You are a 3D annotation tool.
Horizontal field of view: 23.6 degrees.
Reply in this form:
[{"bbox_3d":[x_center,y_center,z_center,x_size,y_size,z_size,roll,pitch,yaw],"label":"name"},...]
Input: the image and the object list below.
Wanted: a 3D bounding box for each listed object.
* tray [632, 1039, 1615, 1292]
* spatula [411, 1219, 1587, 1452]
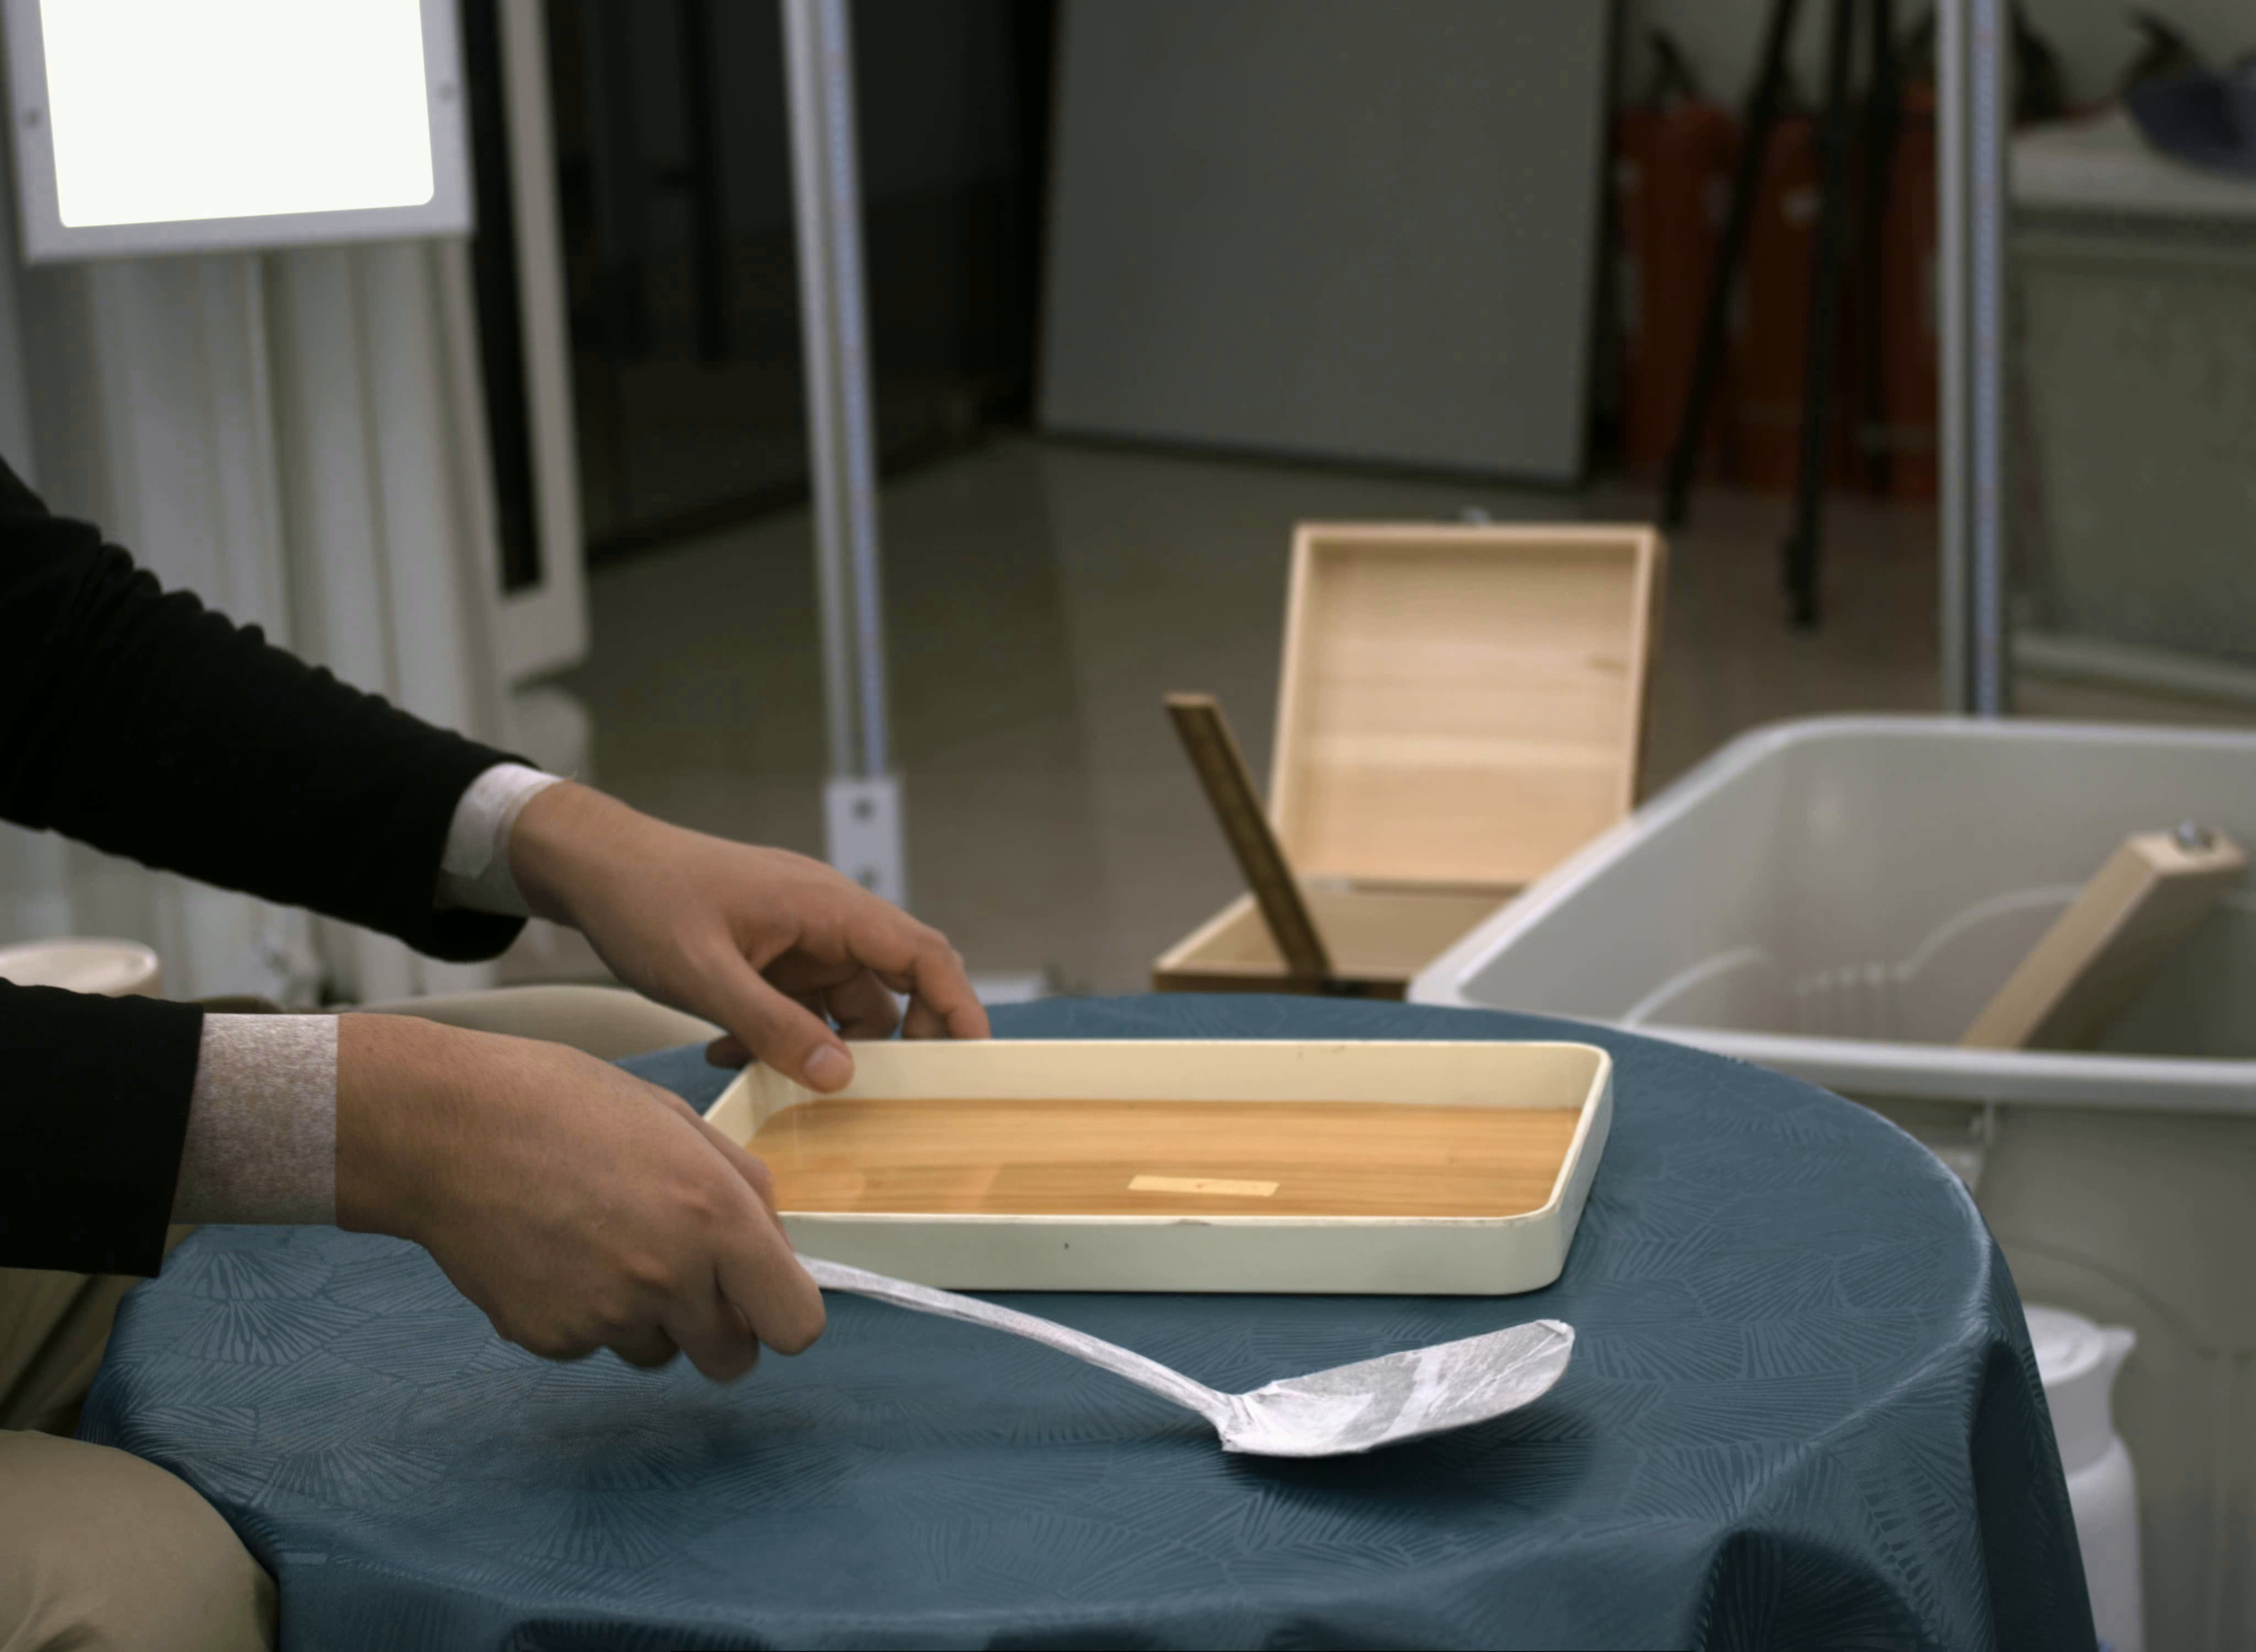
[{"bbox_3d":[0.003,0.110,1.757,0.298,0.028,0.190,-1,14,14],"label":"tray"},{"bbox_3d":[-0.047,0.137,1.566,0.364,0.045,0.098,11,15,17],"label":"spatula"}]
